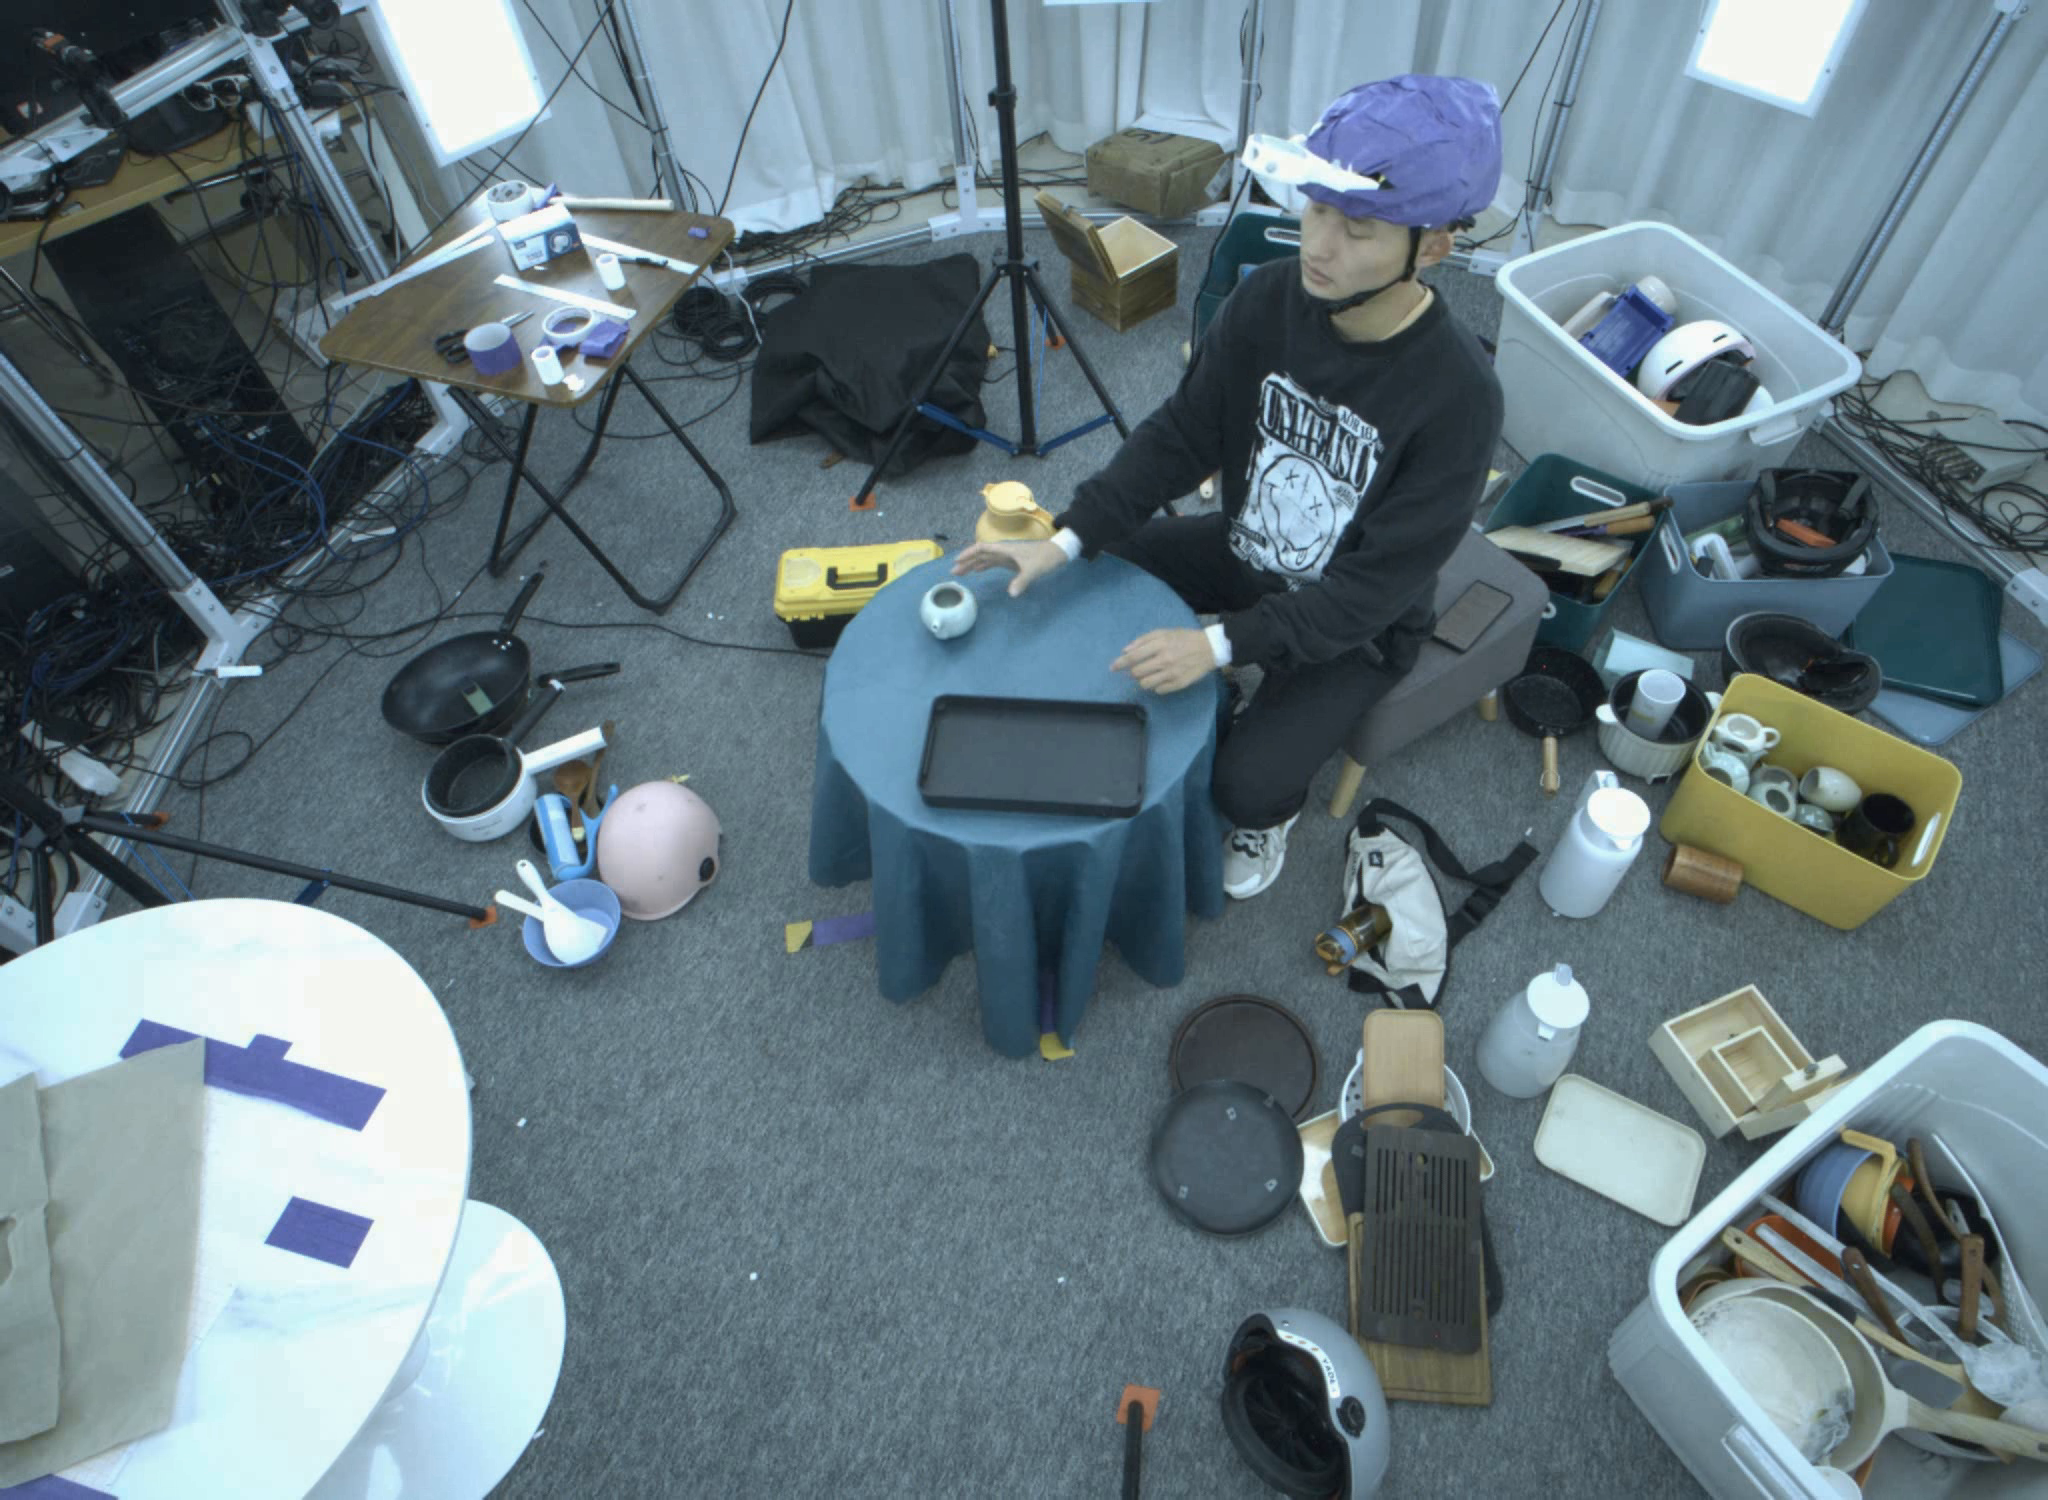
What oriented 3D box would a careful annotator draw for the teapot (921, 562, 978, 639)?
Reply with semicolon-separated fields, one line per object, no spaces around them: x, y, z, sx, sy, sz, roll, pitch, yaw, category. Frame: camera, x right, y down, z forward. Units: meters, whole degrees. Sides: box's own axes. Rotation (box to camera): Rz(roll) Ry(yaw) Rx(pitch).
-0.117;-0.217;1.897;0.088;0.075;0.143;10;57;10;teapot

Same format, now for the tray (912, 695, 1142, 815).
0.008;0.006;1.757;0.317;0.037;0.182;2;55;3;tray
